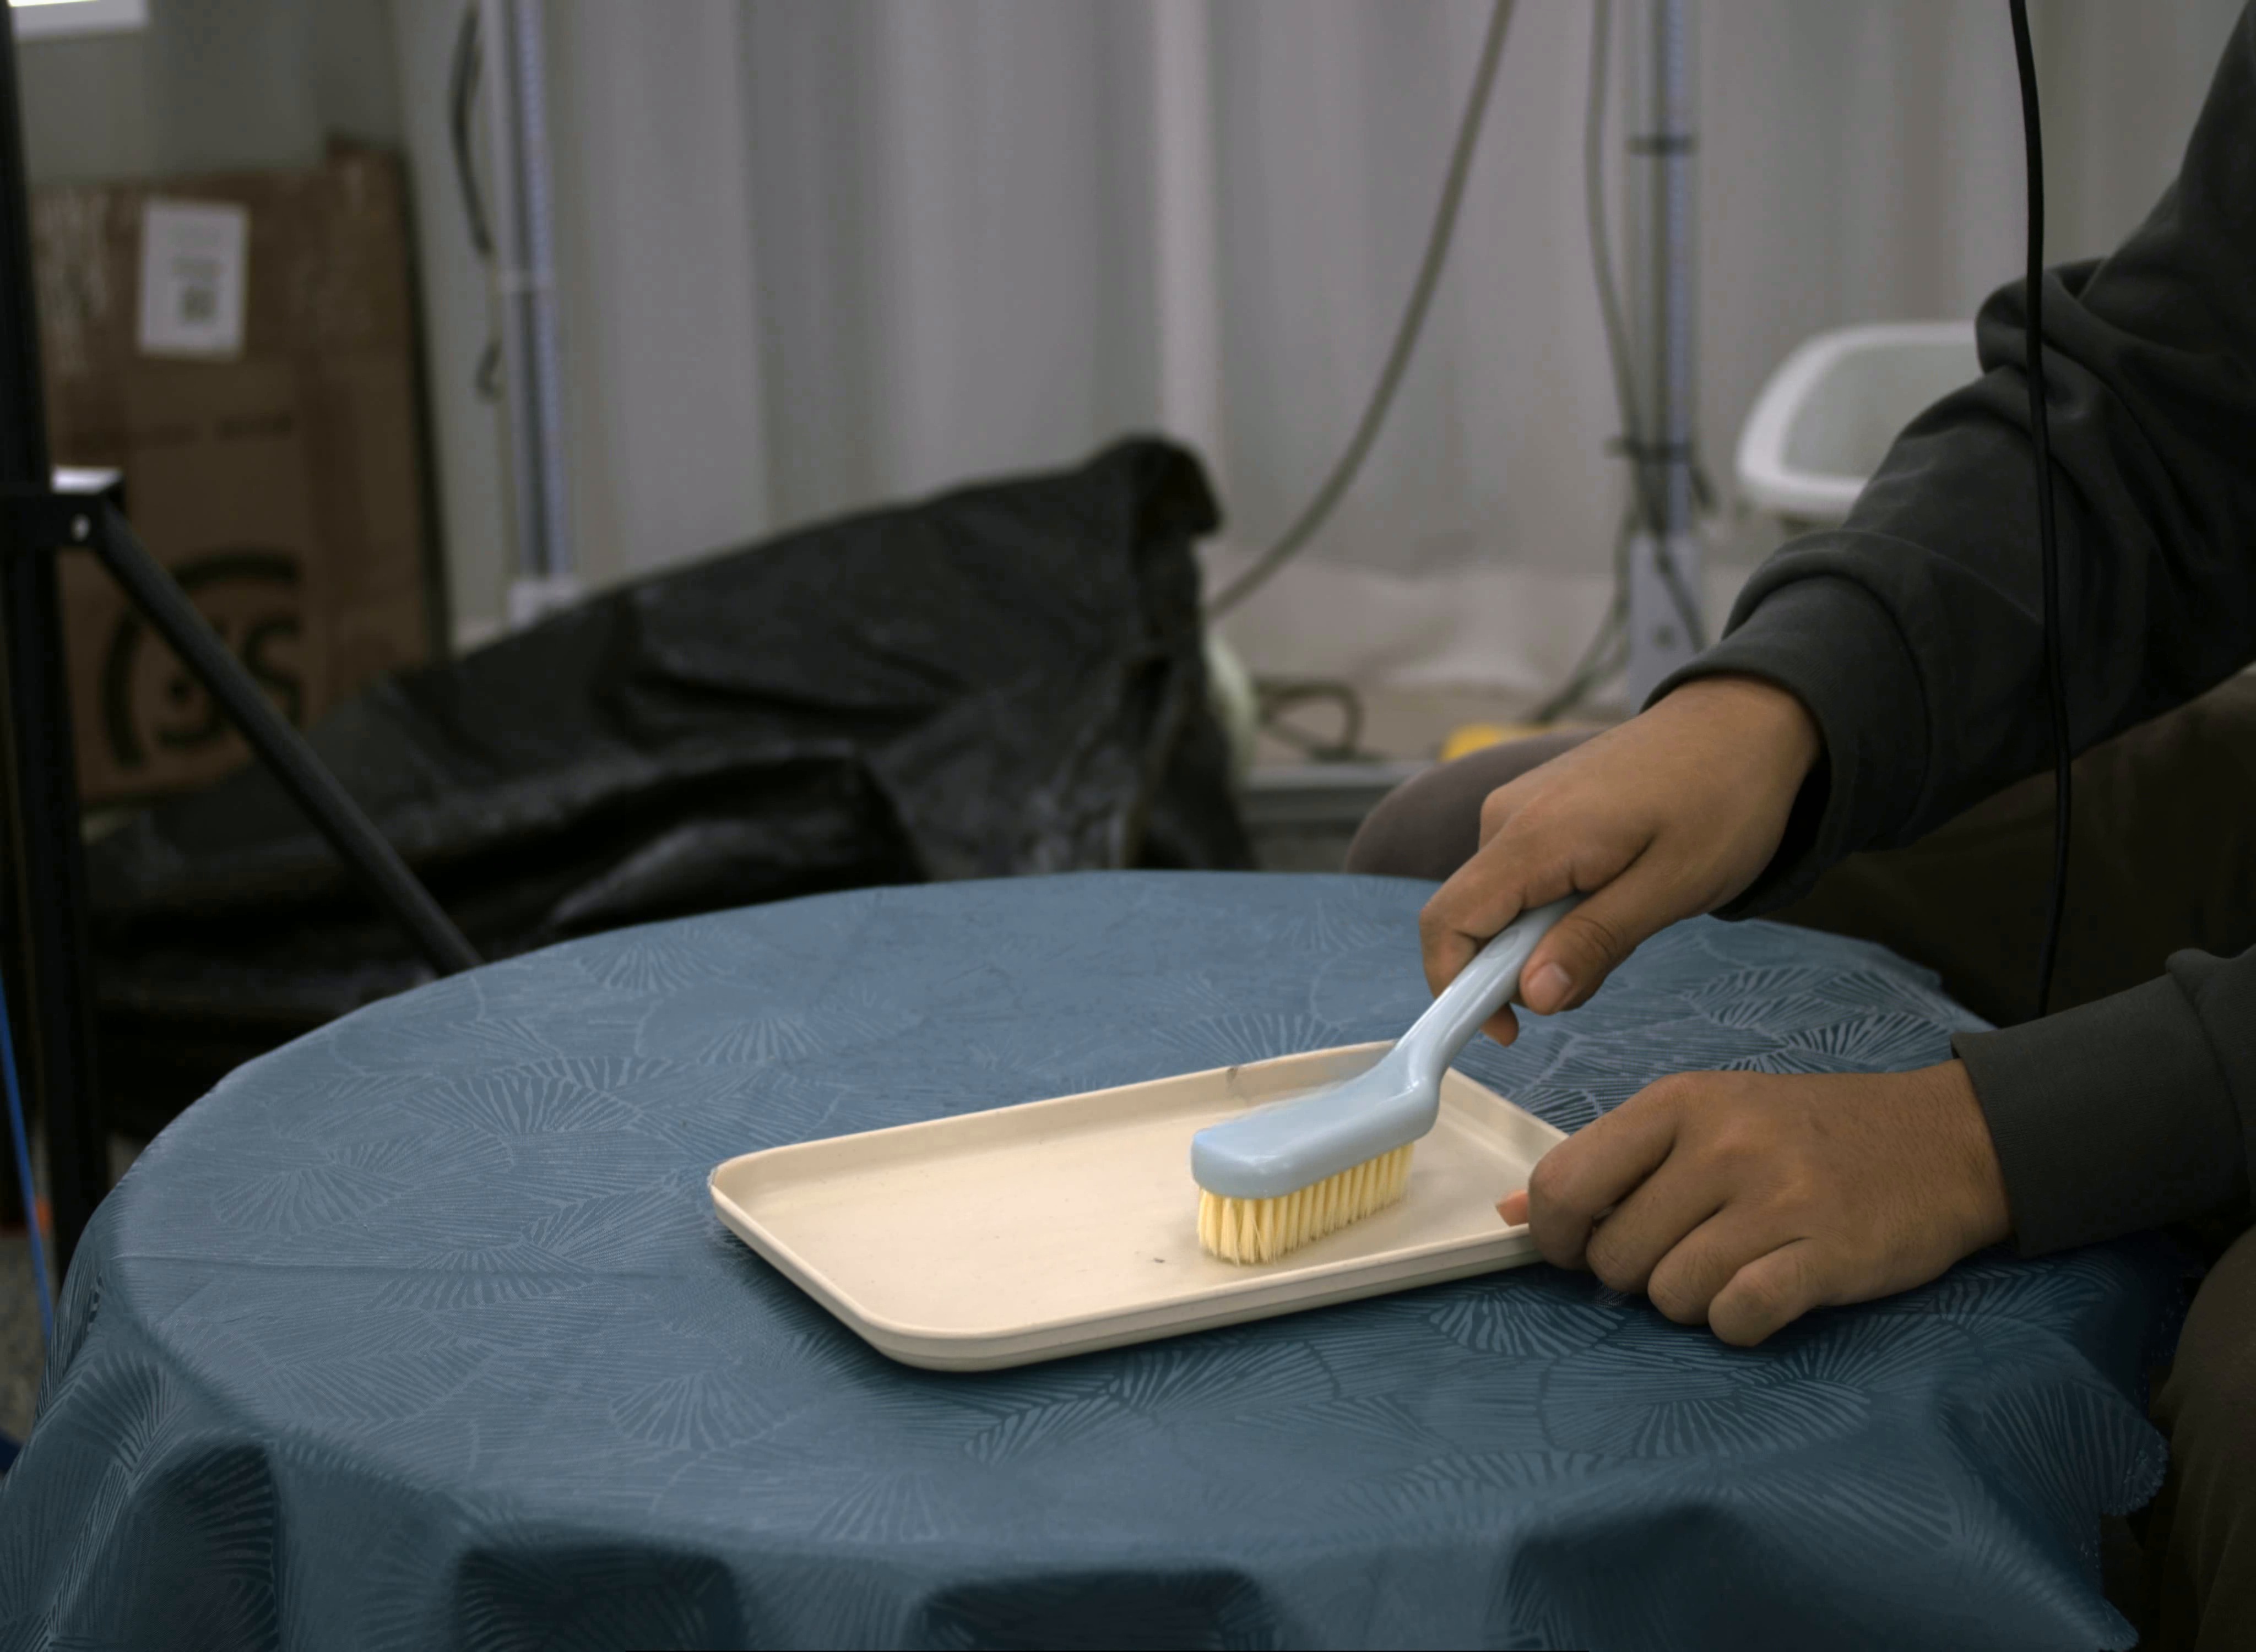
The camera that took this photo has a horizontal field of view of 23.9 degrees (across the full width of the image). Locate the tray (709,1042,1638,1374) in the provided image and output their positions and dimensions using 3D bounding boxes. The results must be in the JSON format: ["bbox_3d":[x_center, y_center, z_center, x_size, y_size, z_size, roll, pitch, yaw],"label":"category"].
[{"bbox_3d":[0.012,0.109,1.519,0.235,0.017,0.175,-9,18,-22],"label":"tray"}]

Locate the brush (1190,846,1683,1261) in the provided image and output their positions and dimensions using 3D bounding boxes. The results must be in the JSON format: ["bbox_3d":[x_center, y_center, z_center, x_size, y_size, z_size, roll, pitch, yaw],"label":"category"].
[{"bbox_3d":[0.095,0.065,1.558,0.038,0.049,0.225,15,36,35],"label":"brush"}]
